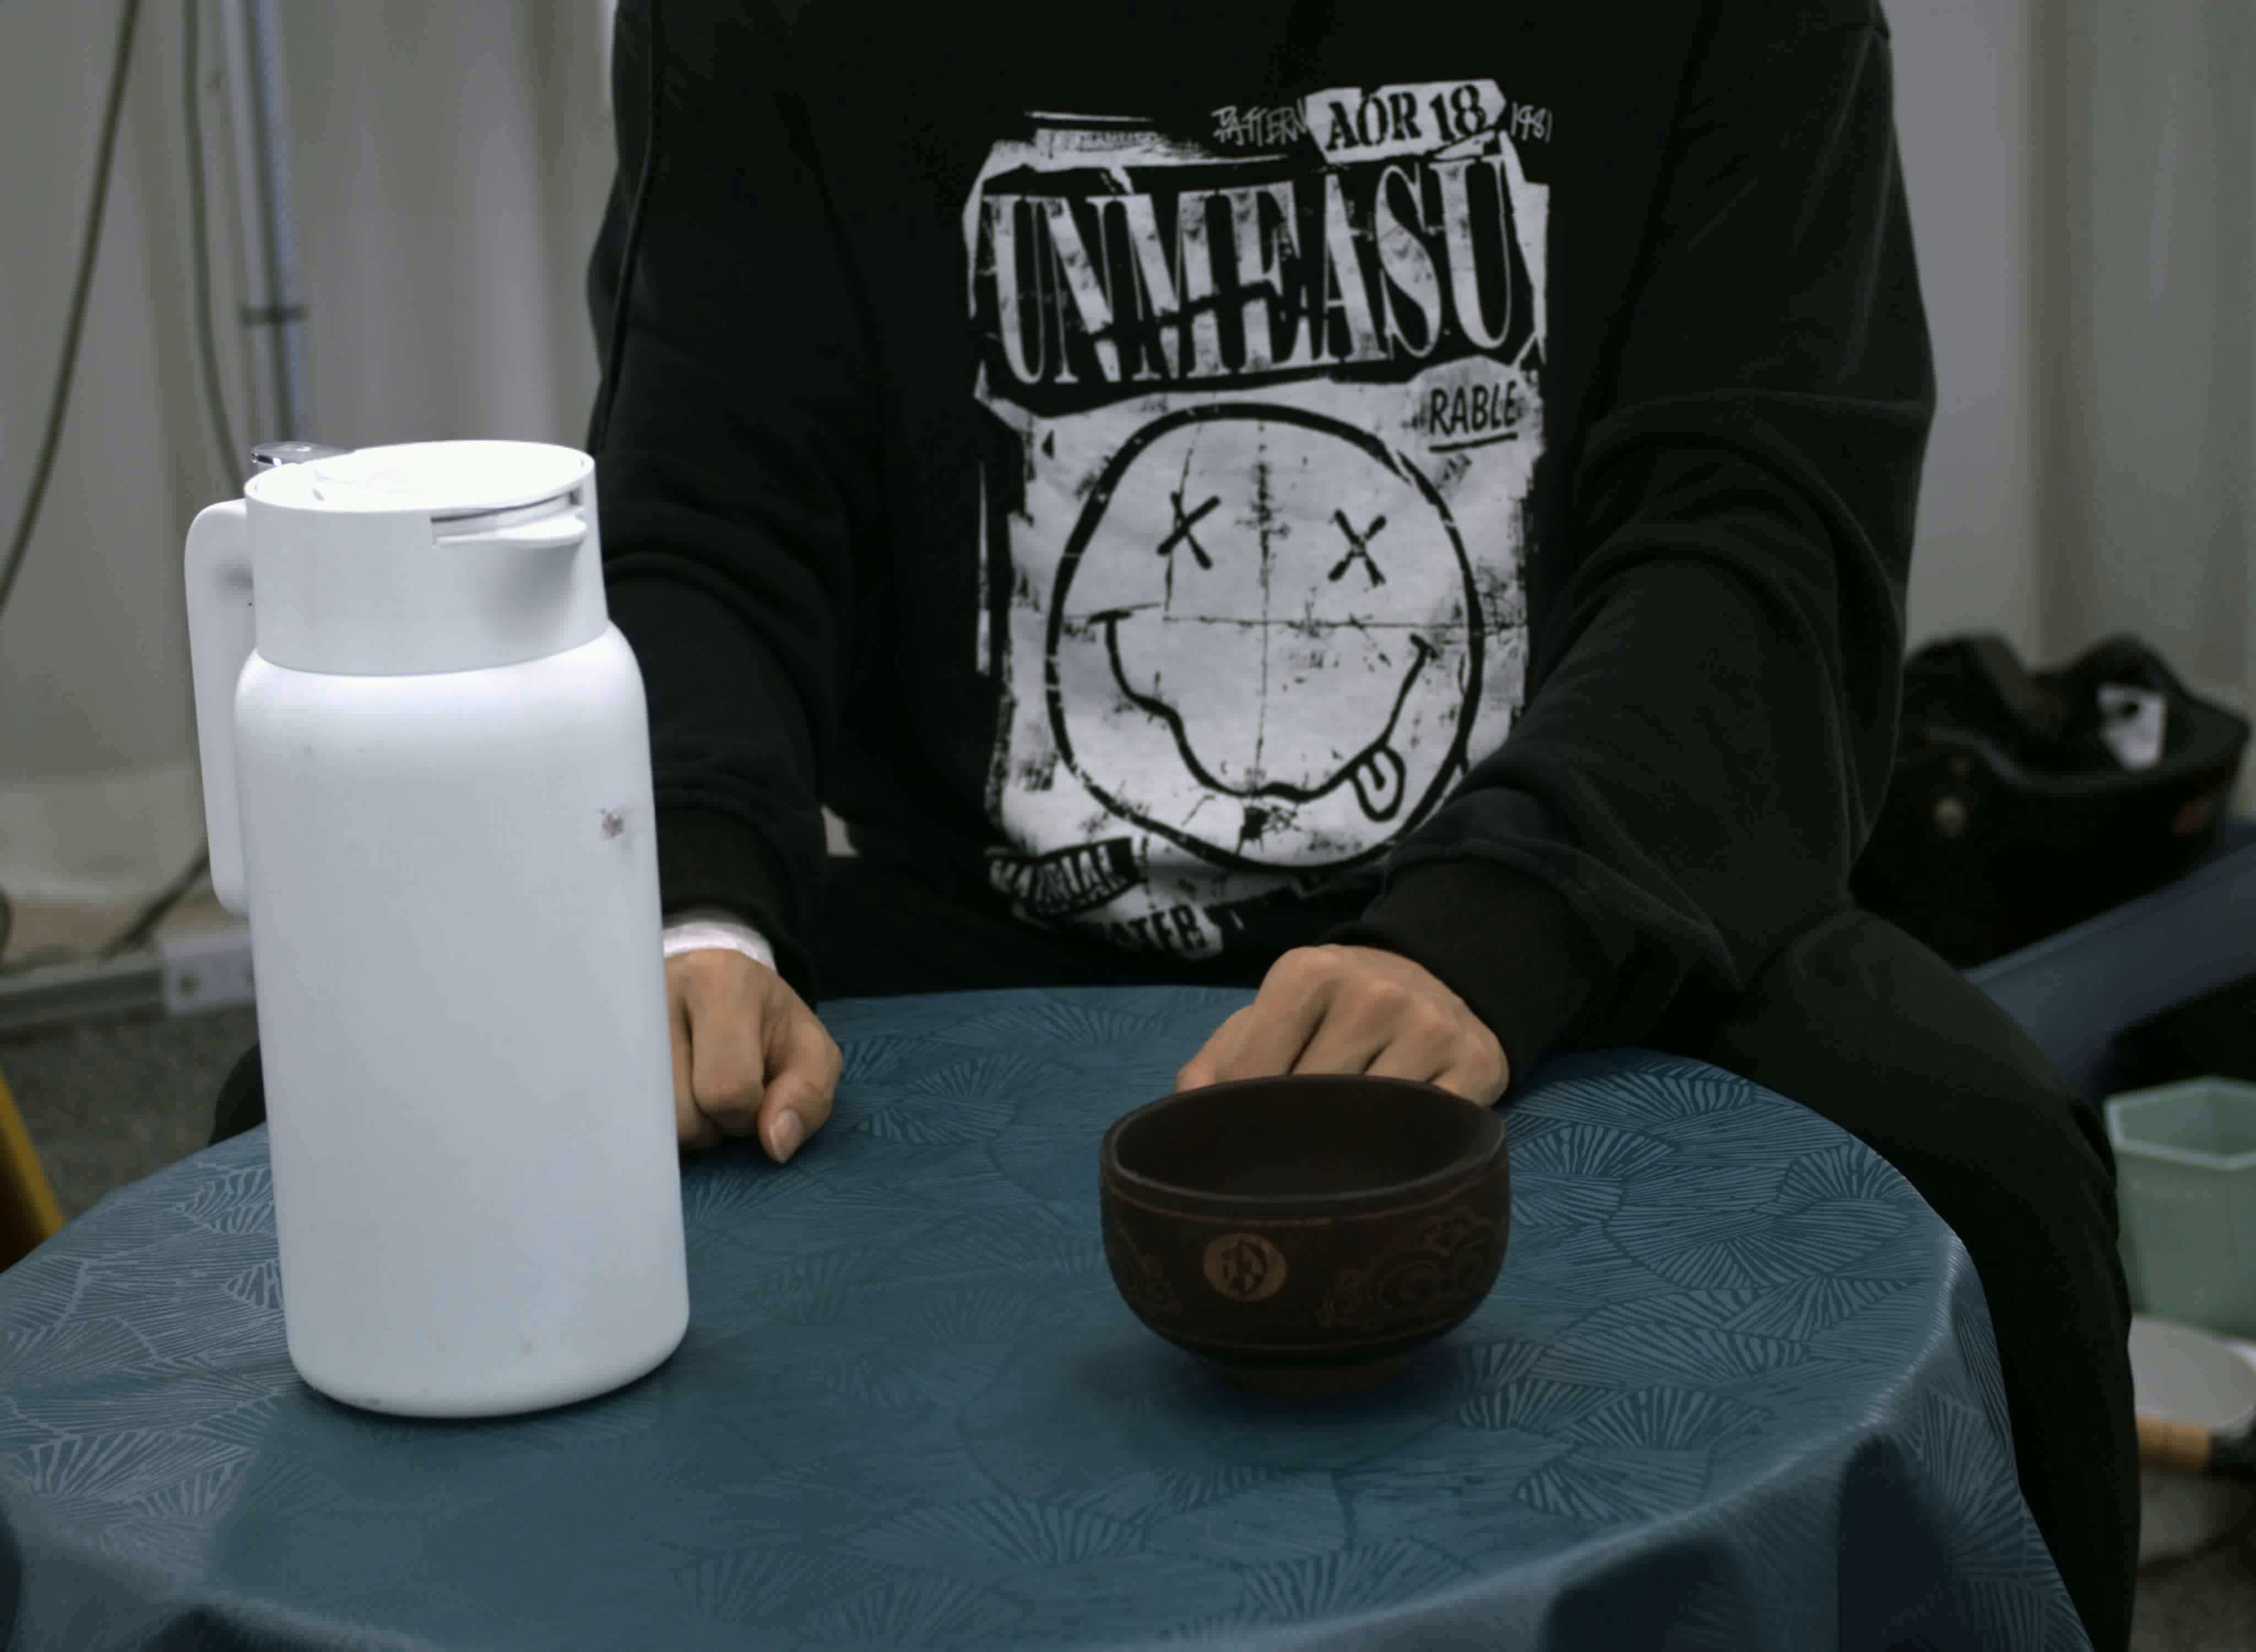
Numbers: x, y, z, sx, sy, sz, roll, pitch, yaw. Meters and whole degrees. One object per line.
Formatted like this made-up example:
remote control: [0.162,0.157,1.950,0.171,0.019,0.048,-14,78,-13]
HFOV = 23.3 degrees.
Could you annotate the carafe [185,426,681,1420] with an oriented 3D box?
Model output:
carafe: [-0.205,0.025,1.575,0.123,0.268,0.174,-18,20,-42]

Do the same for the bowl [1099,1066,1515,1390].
bowl: [0.051,0.118,1.549,0.117,0.069,0.119,-3,14,1]
